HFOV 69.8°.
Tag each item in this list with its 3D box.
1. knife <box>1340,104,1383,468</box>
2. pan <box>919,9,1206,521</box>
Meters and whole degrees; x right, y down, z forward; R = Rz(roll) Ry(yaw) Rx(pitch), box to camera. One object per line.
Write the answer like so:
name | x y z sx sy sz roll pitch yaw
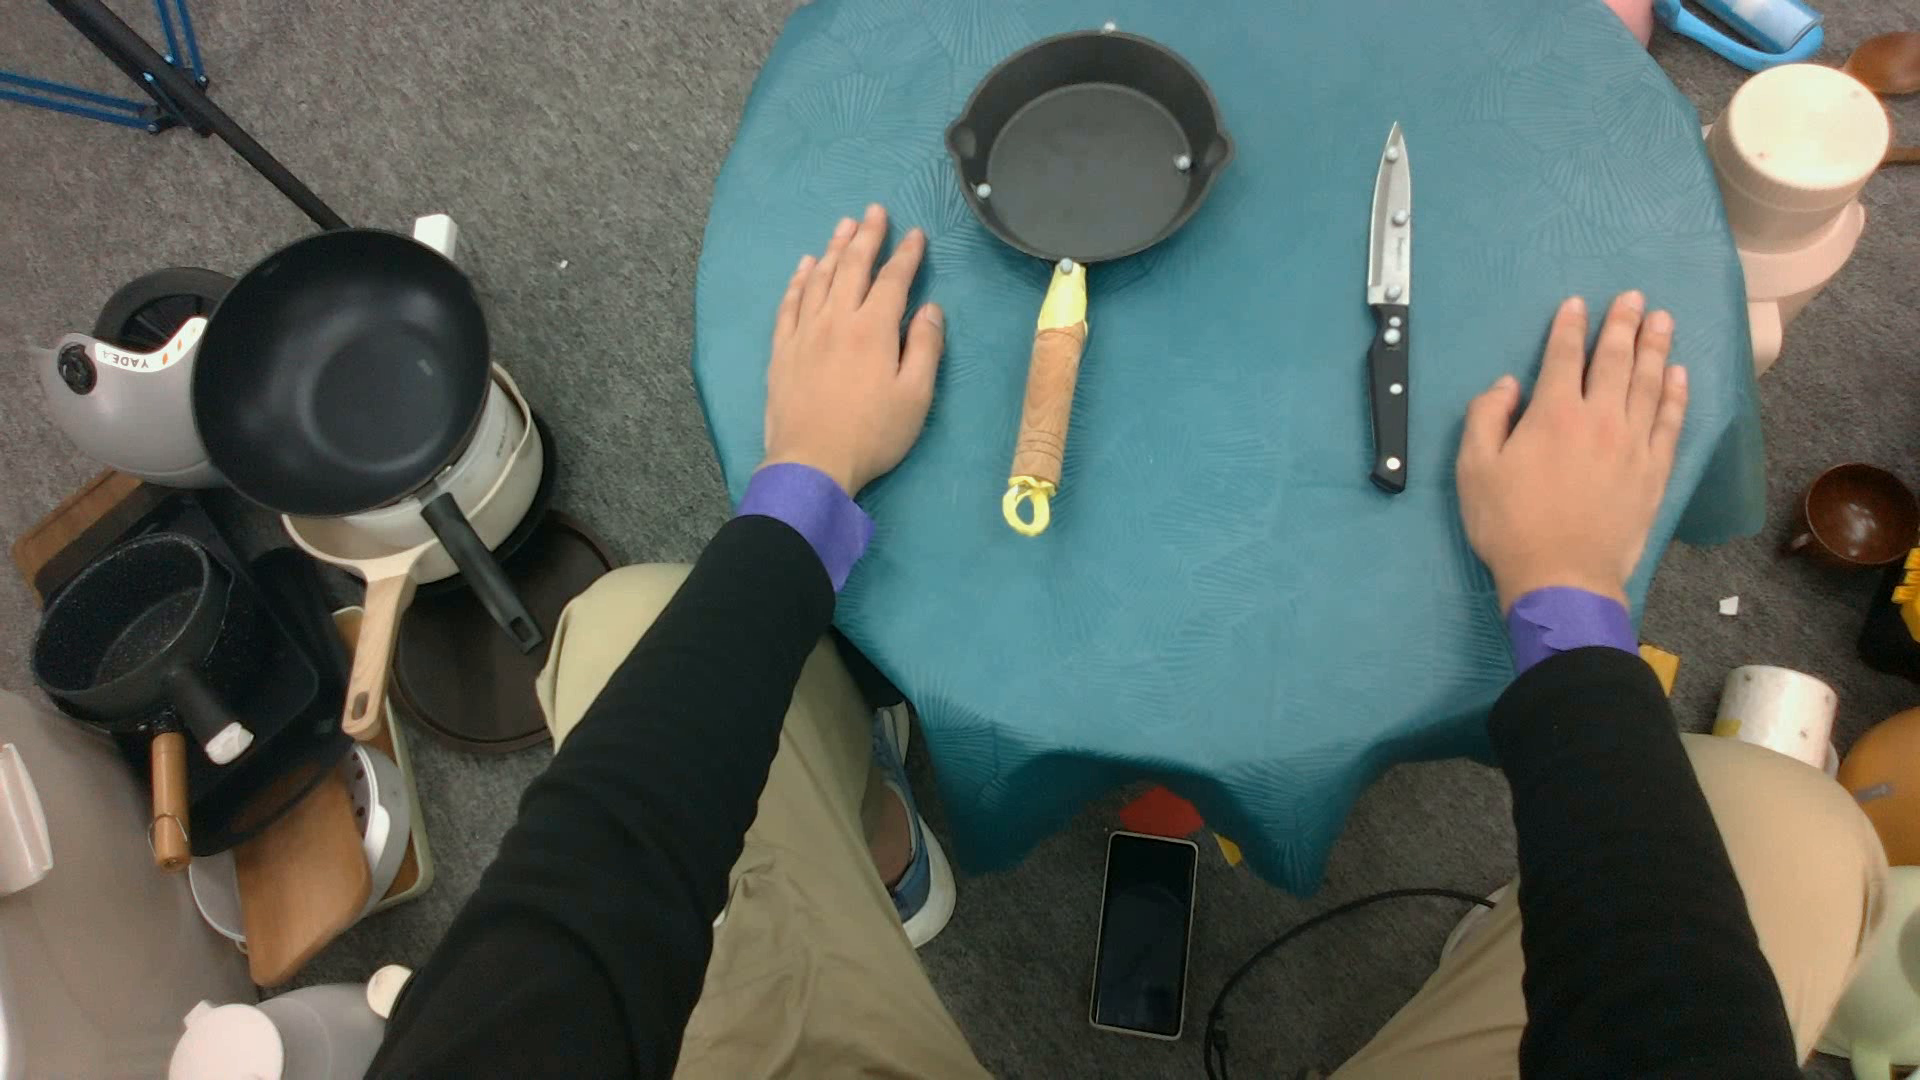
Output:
knife | 0.228 -0.150 0.782 0.024 0.016 0.239 3 69 9
pan | 0.045 -0.161 0.787 0.169 0.049 0.325 7 73 9
